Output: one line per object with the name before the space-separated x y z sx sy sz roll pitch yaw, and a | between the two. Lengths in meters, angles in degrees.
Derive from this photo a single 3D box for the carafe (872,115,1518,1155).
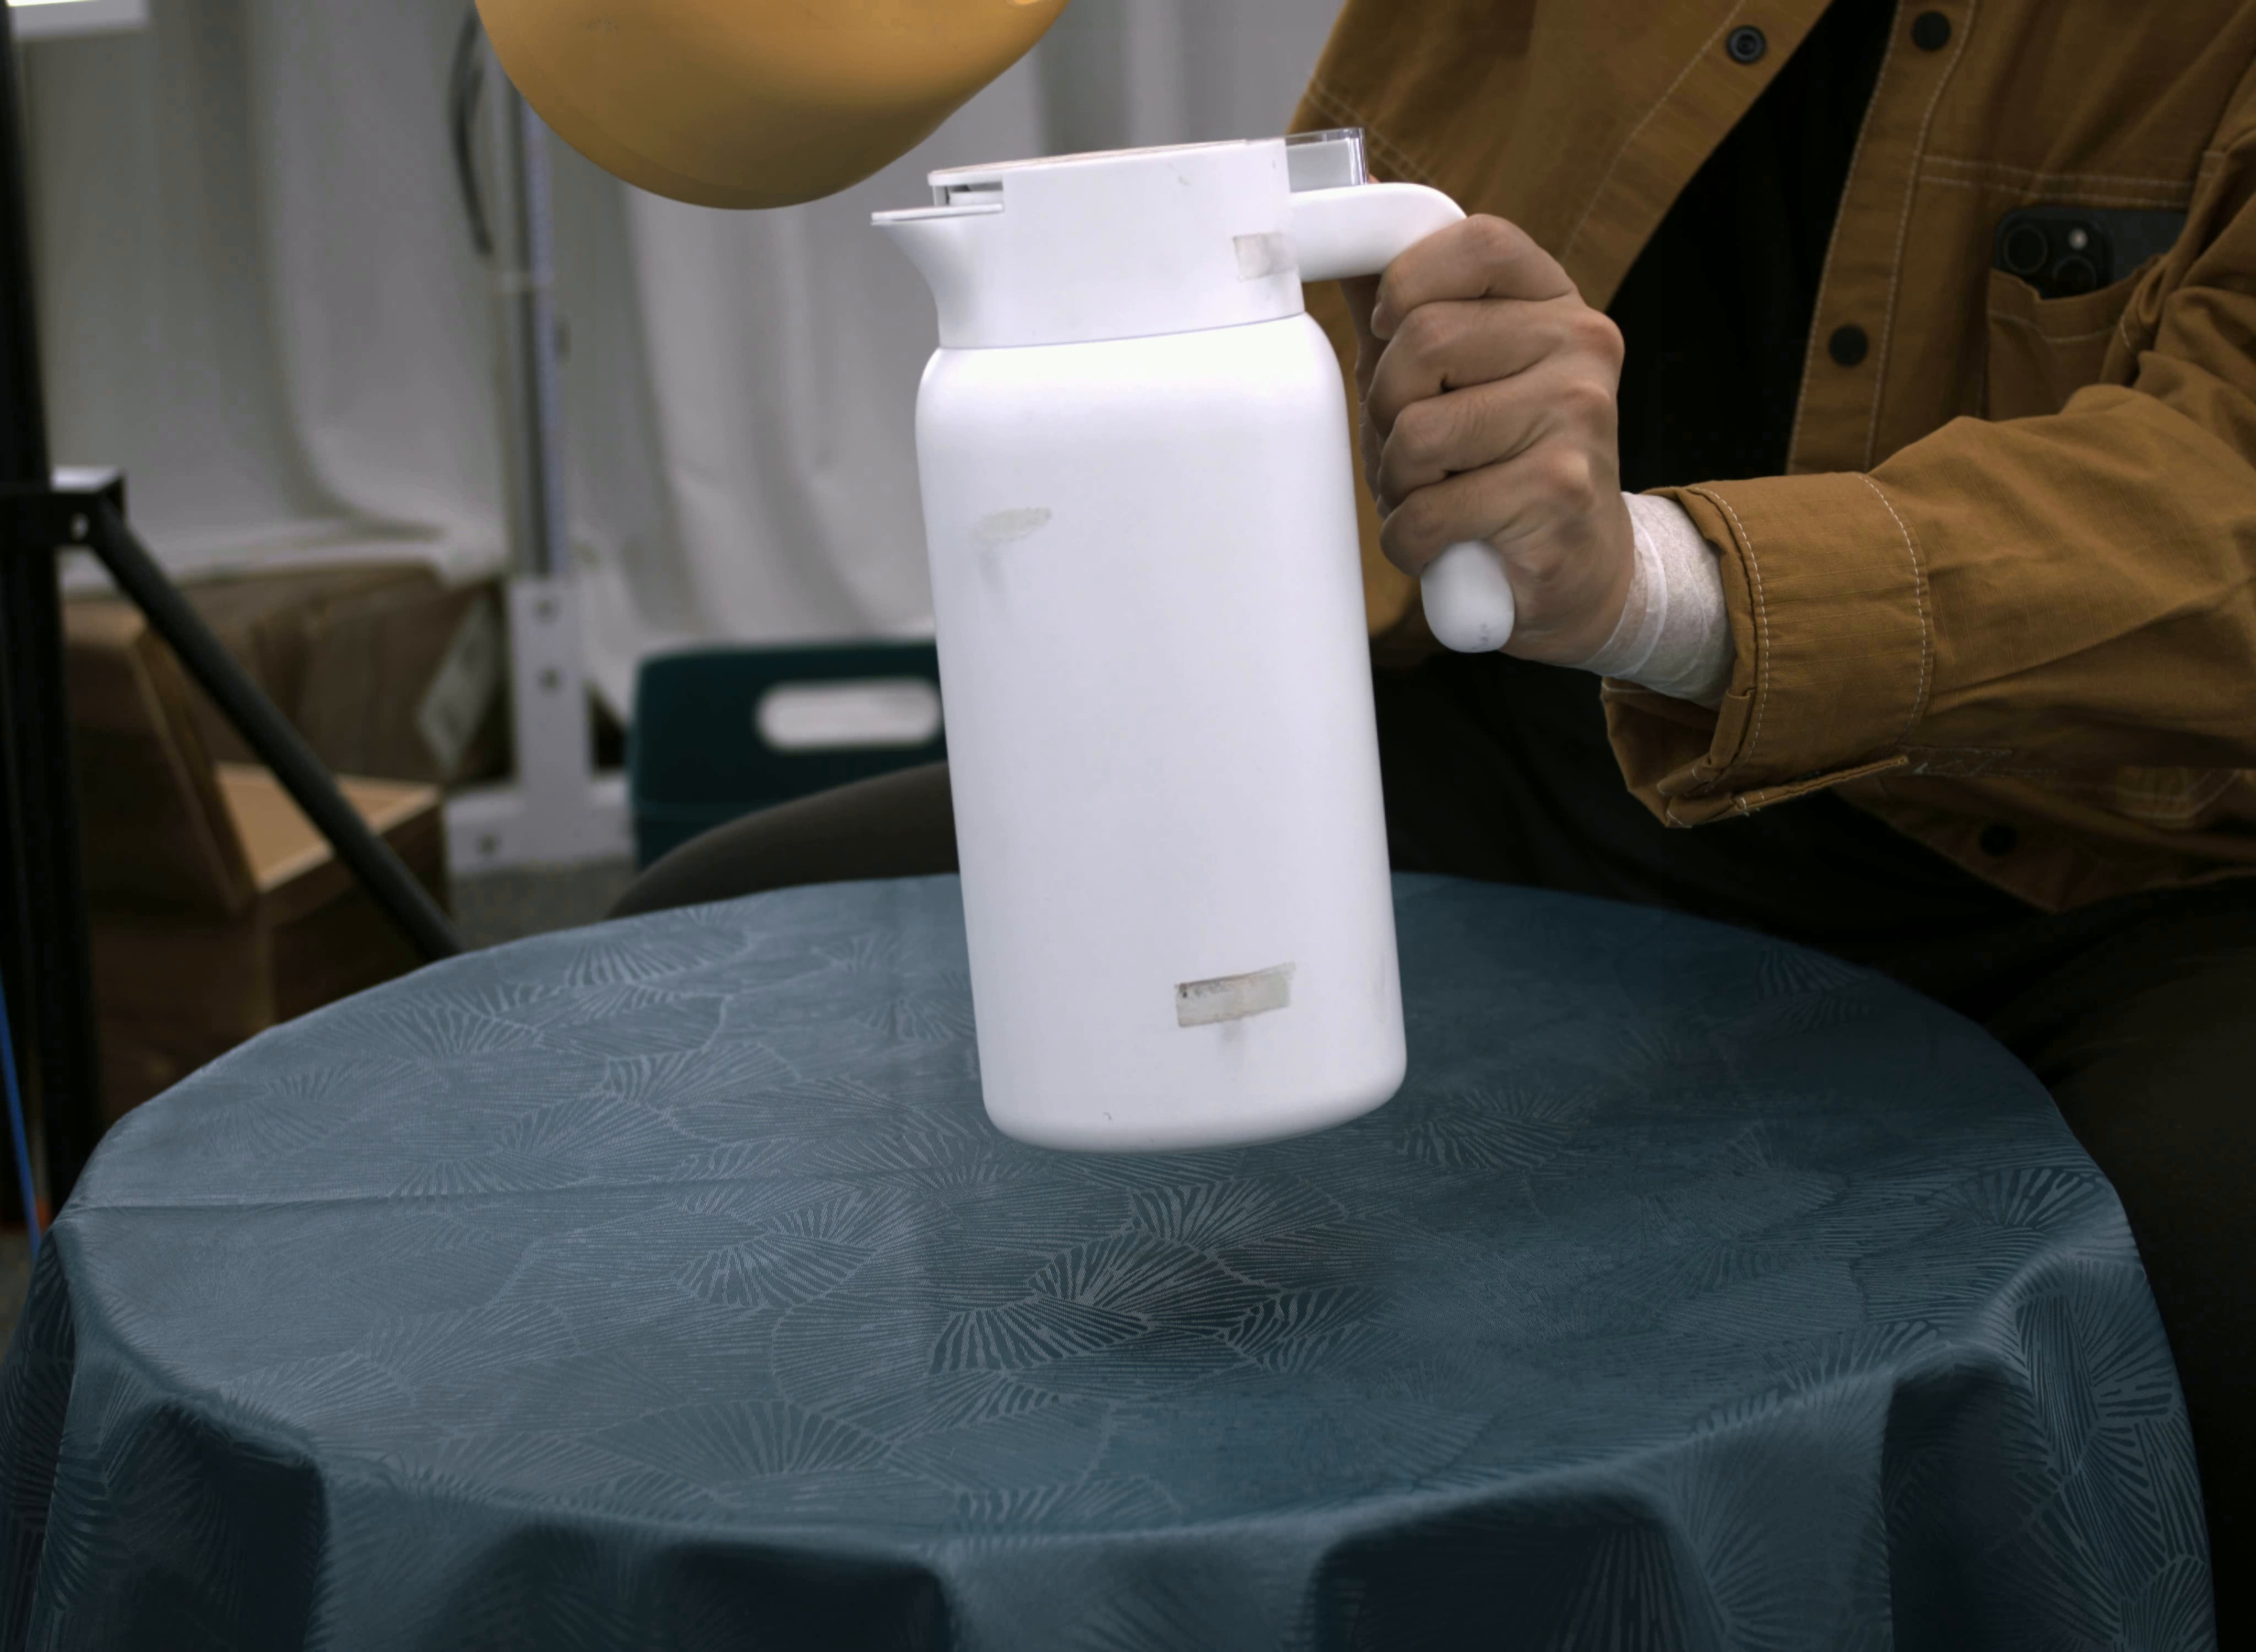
carafe | 0.023 -0.054 1.442 0.169 0.269 0.126 -8 6 -21

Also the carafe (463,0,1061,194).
carafe | -0.092 -0.298 1.512 0.160 0.203 0.264 -20 2 -25
